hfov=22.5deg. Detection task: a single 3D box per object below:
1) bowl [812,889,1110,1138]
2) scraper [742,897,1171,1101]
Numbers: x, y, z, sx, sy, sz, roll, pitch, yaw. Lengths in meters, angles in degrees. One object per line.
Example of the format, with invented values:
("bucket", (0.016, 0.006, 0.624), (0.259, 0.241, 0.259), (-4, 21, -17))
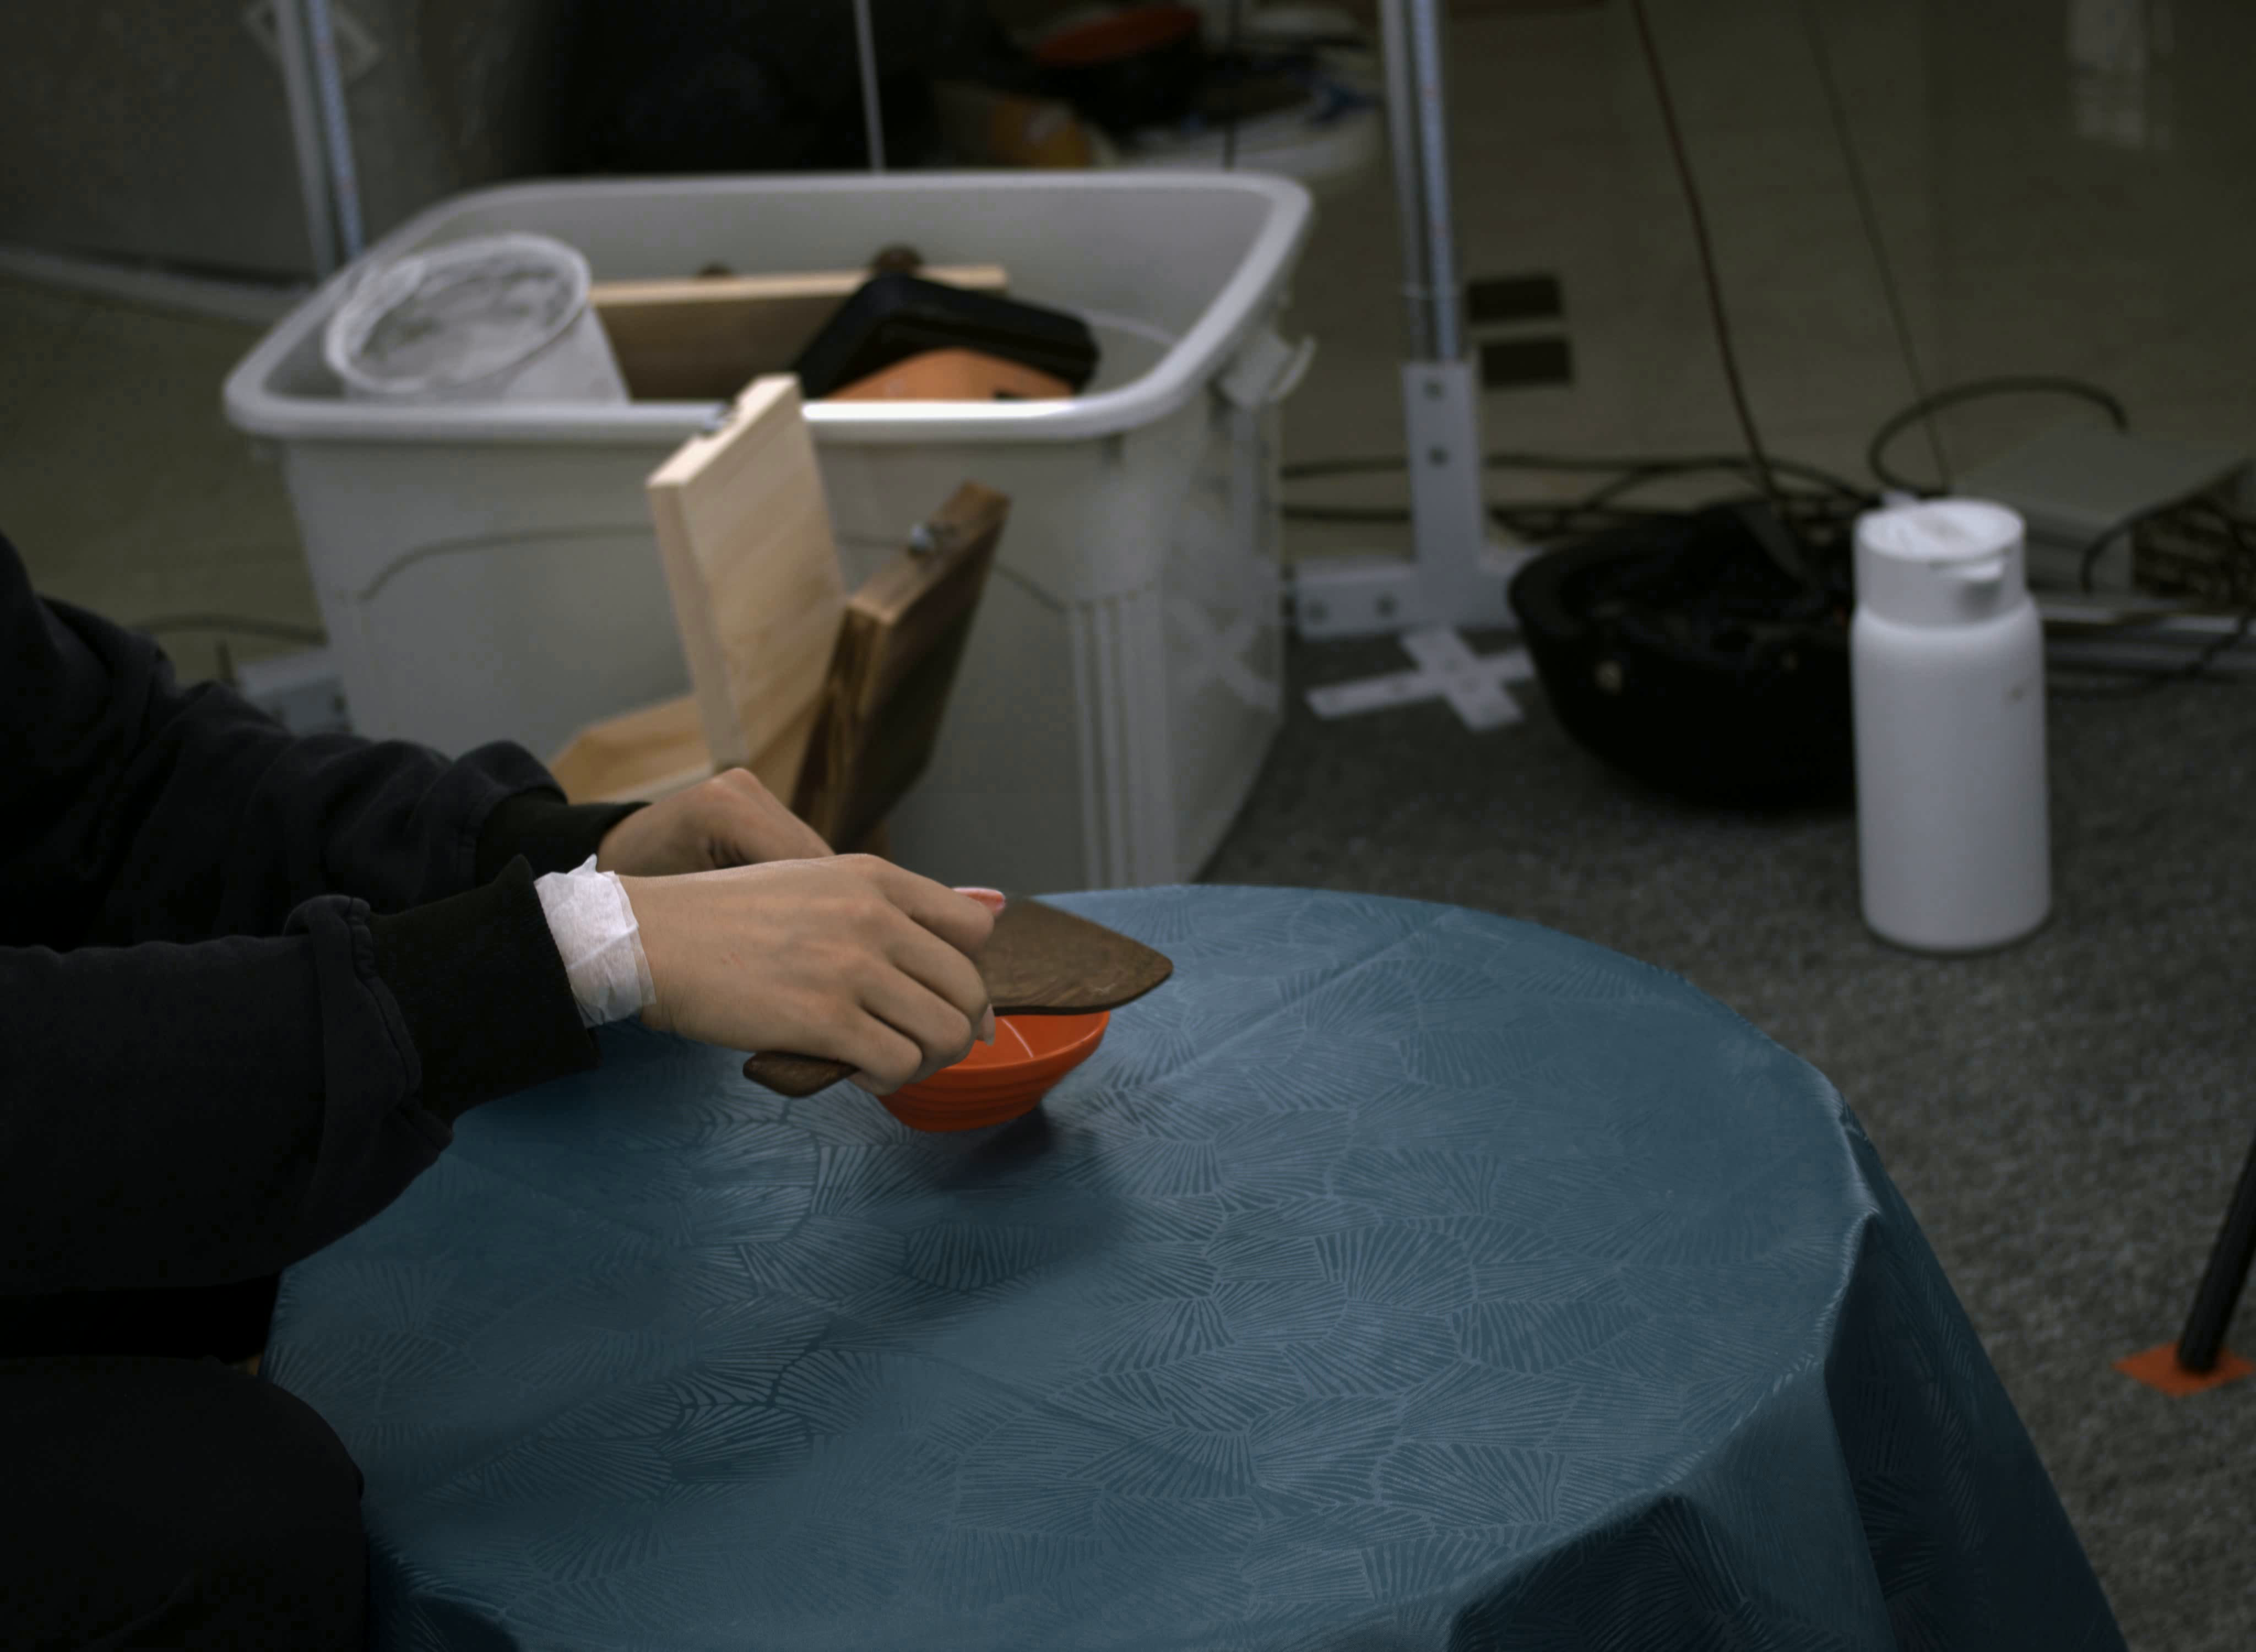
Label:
("bowl", (-0.068, 0.080, 2.215), (0.119, 0.052, 0.117), (8, 38, -6))
("scraper", (-0.068, 0.066, 2.050), (0.075, 0.011, 0.210), (25, 27, 27))
